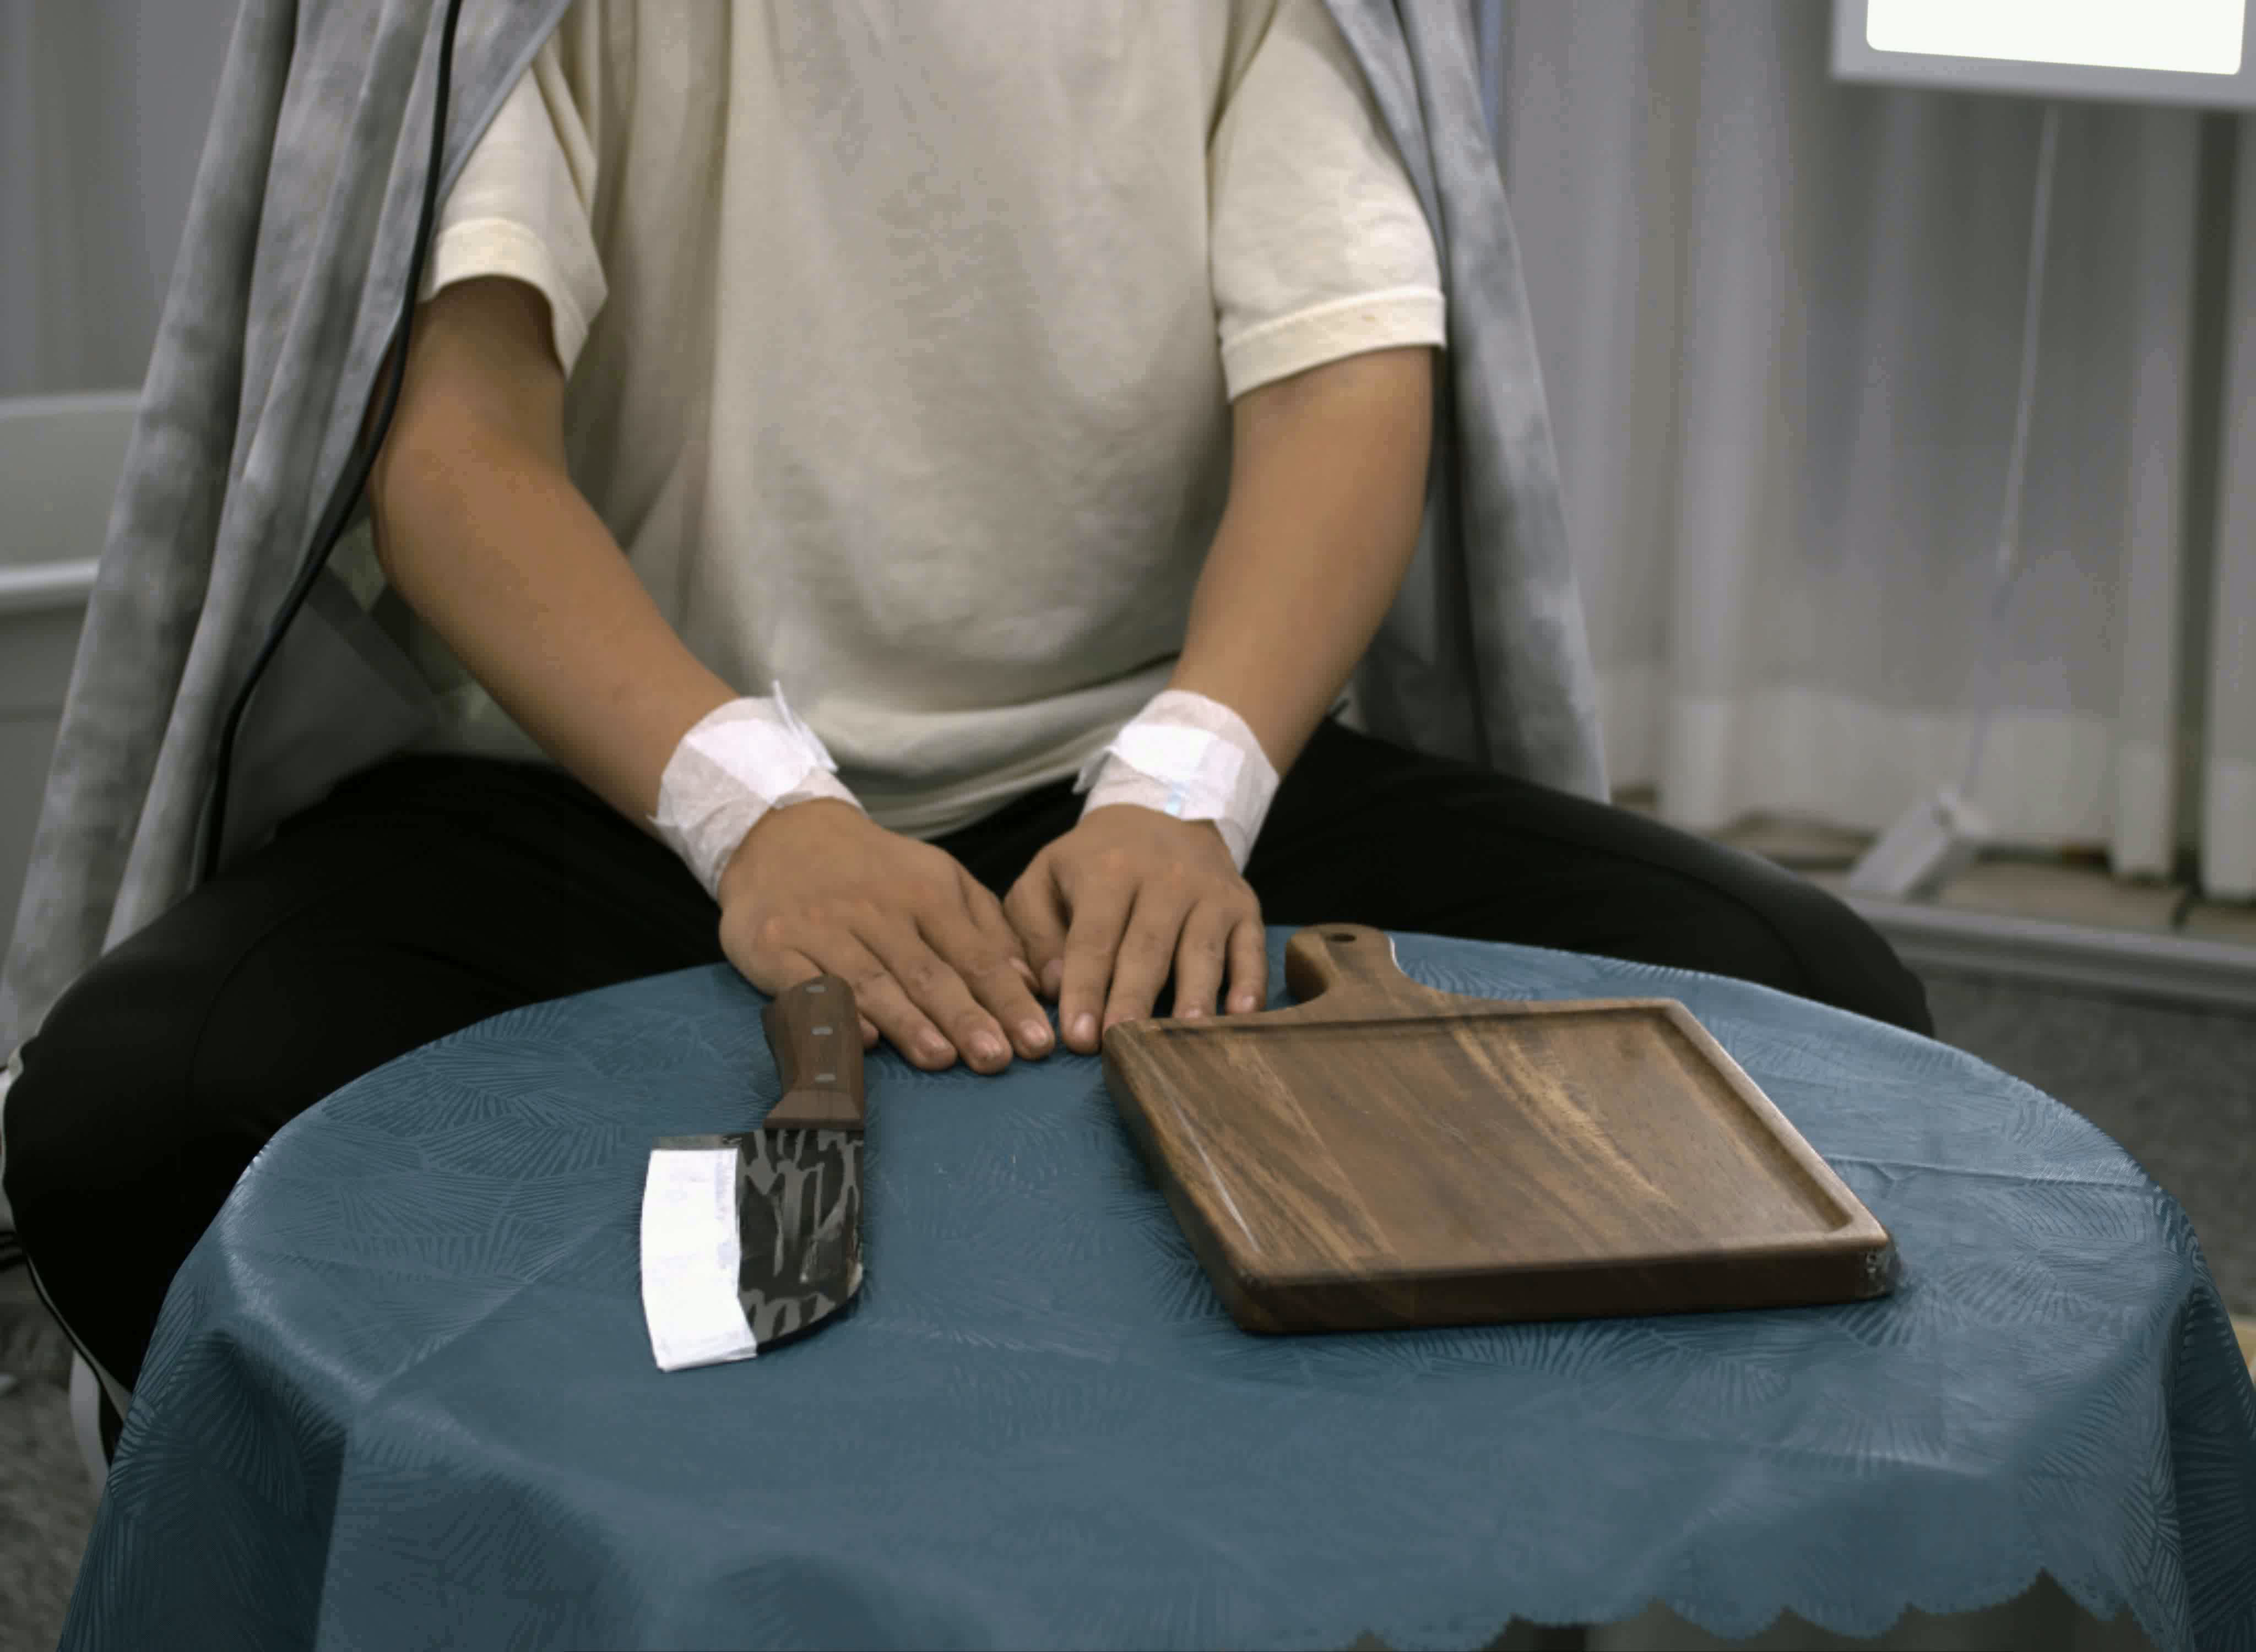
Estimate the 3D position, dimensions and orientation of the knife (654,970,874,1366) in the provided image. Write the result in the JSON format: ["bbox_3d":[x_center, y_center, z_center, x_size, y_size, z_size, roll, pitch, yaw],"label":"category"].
[{"bbox_3d":[-0.112,0.104,1.616,0.068,0.024,0.297,-2,18,-1],"label":"knife"}]

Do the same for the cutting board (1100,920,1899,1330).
[{"bbox_3d":[0.100,0.087,1.682,0.201,0.023,0.349,-2,15,-10],"label":"cutting board"}]
